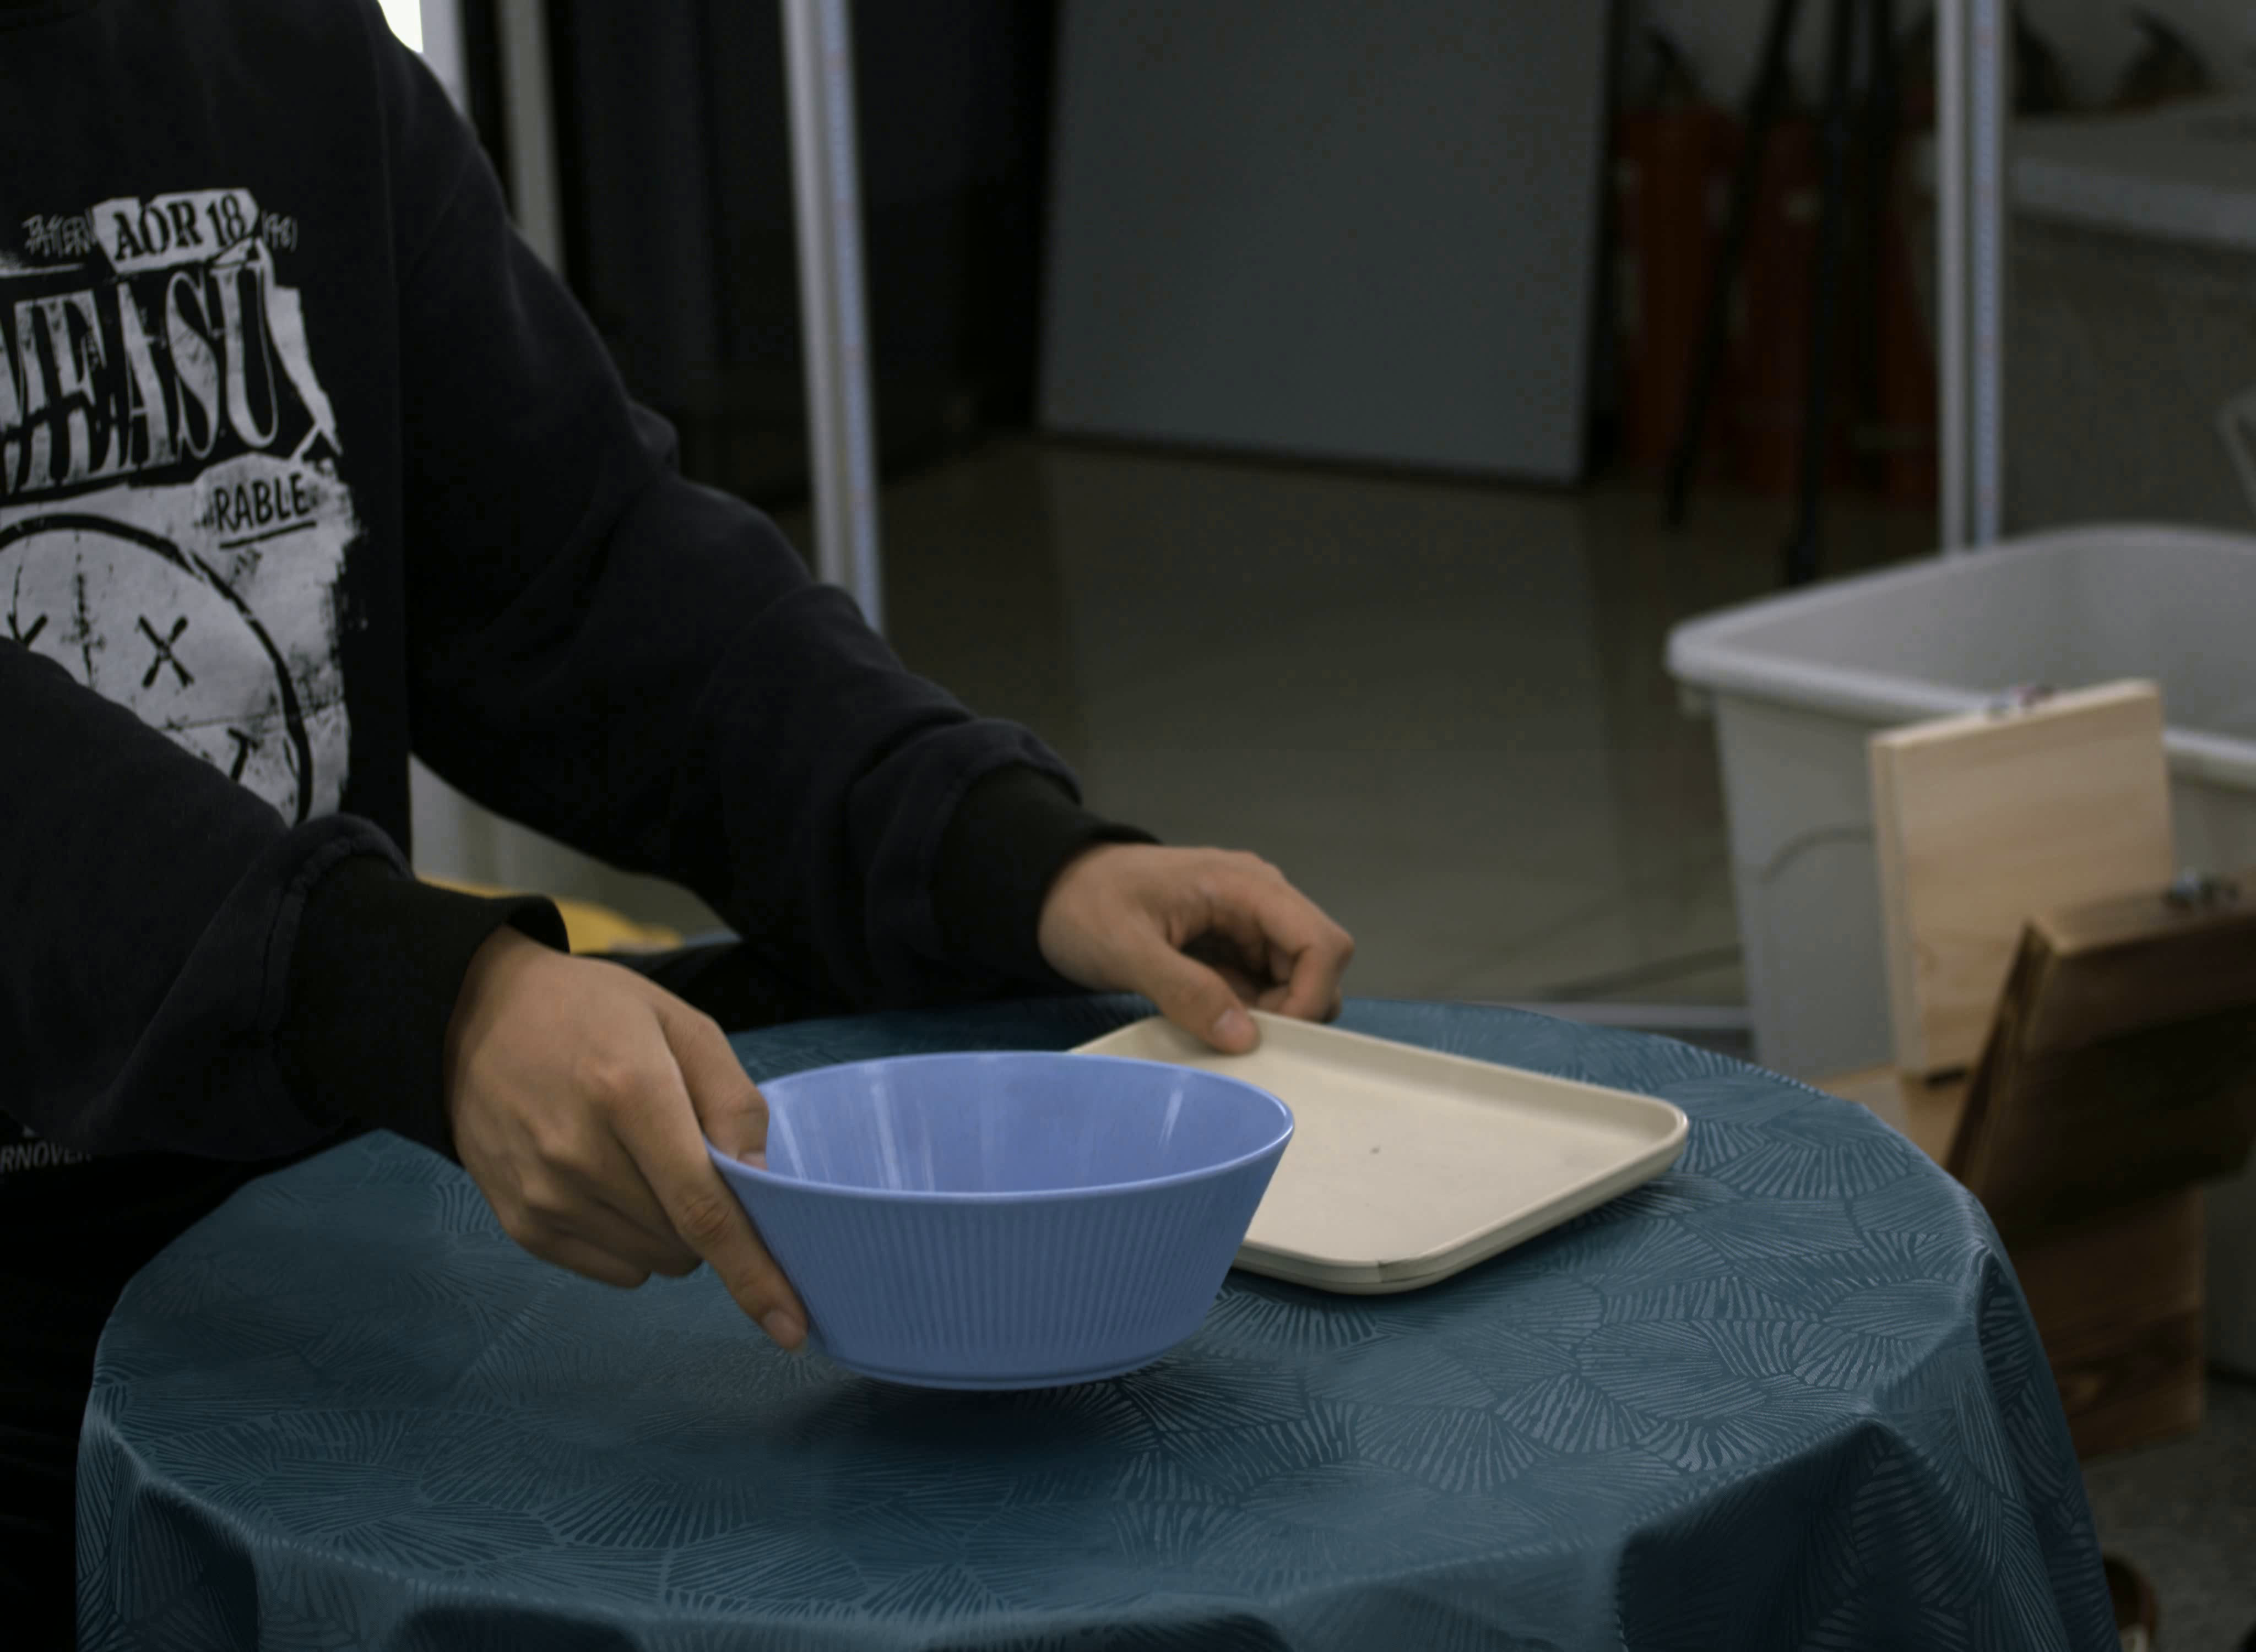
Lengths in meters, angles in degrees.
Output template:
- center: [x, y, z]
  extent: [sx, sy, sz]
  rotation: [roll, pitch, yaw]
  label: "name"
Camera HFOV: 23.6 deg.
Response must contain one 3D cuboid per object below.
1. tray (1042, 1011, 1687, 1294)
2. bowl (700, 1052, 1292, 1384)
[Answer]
- center: [0.052, 0.106, 1.765]
  extent: [0.242, 0.017, 0.168]
  rotation: [10, 22, 44]
  label: "tray"
- center: [-0.038, 0.115, 1.576]
  extent: [0.174, 0.071, 0.176]
  rotation: [-1, 10, -1]
  label: "bowl"
